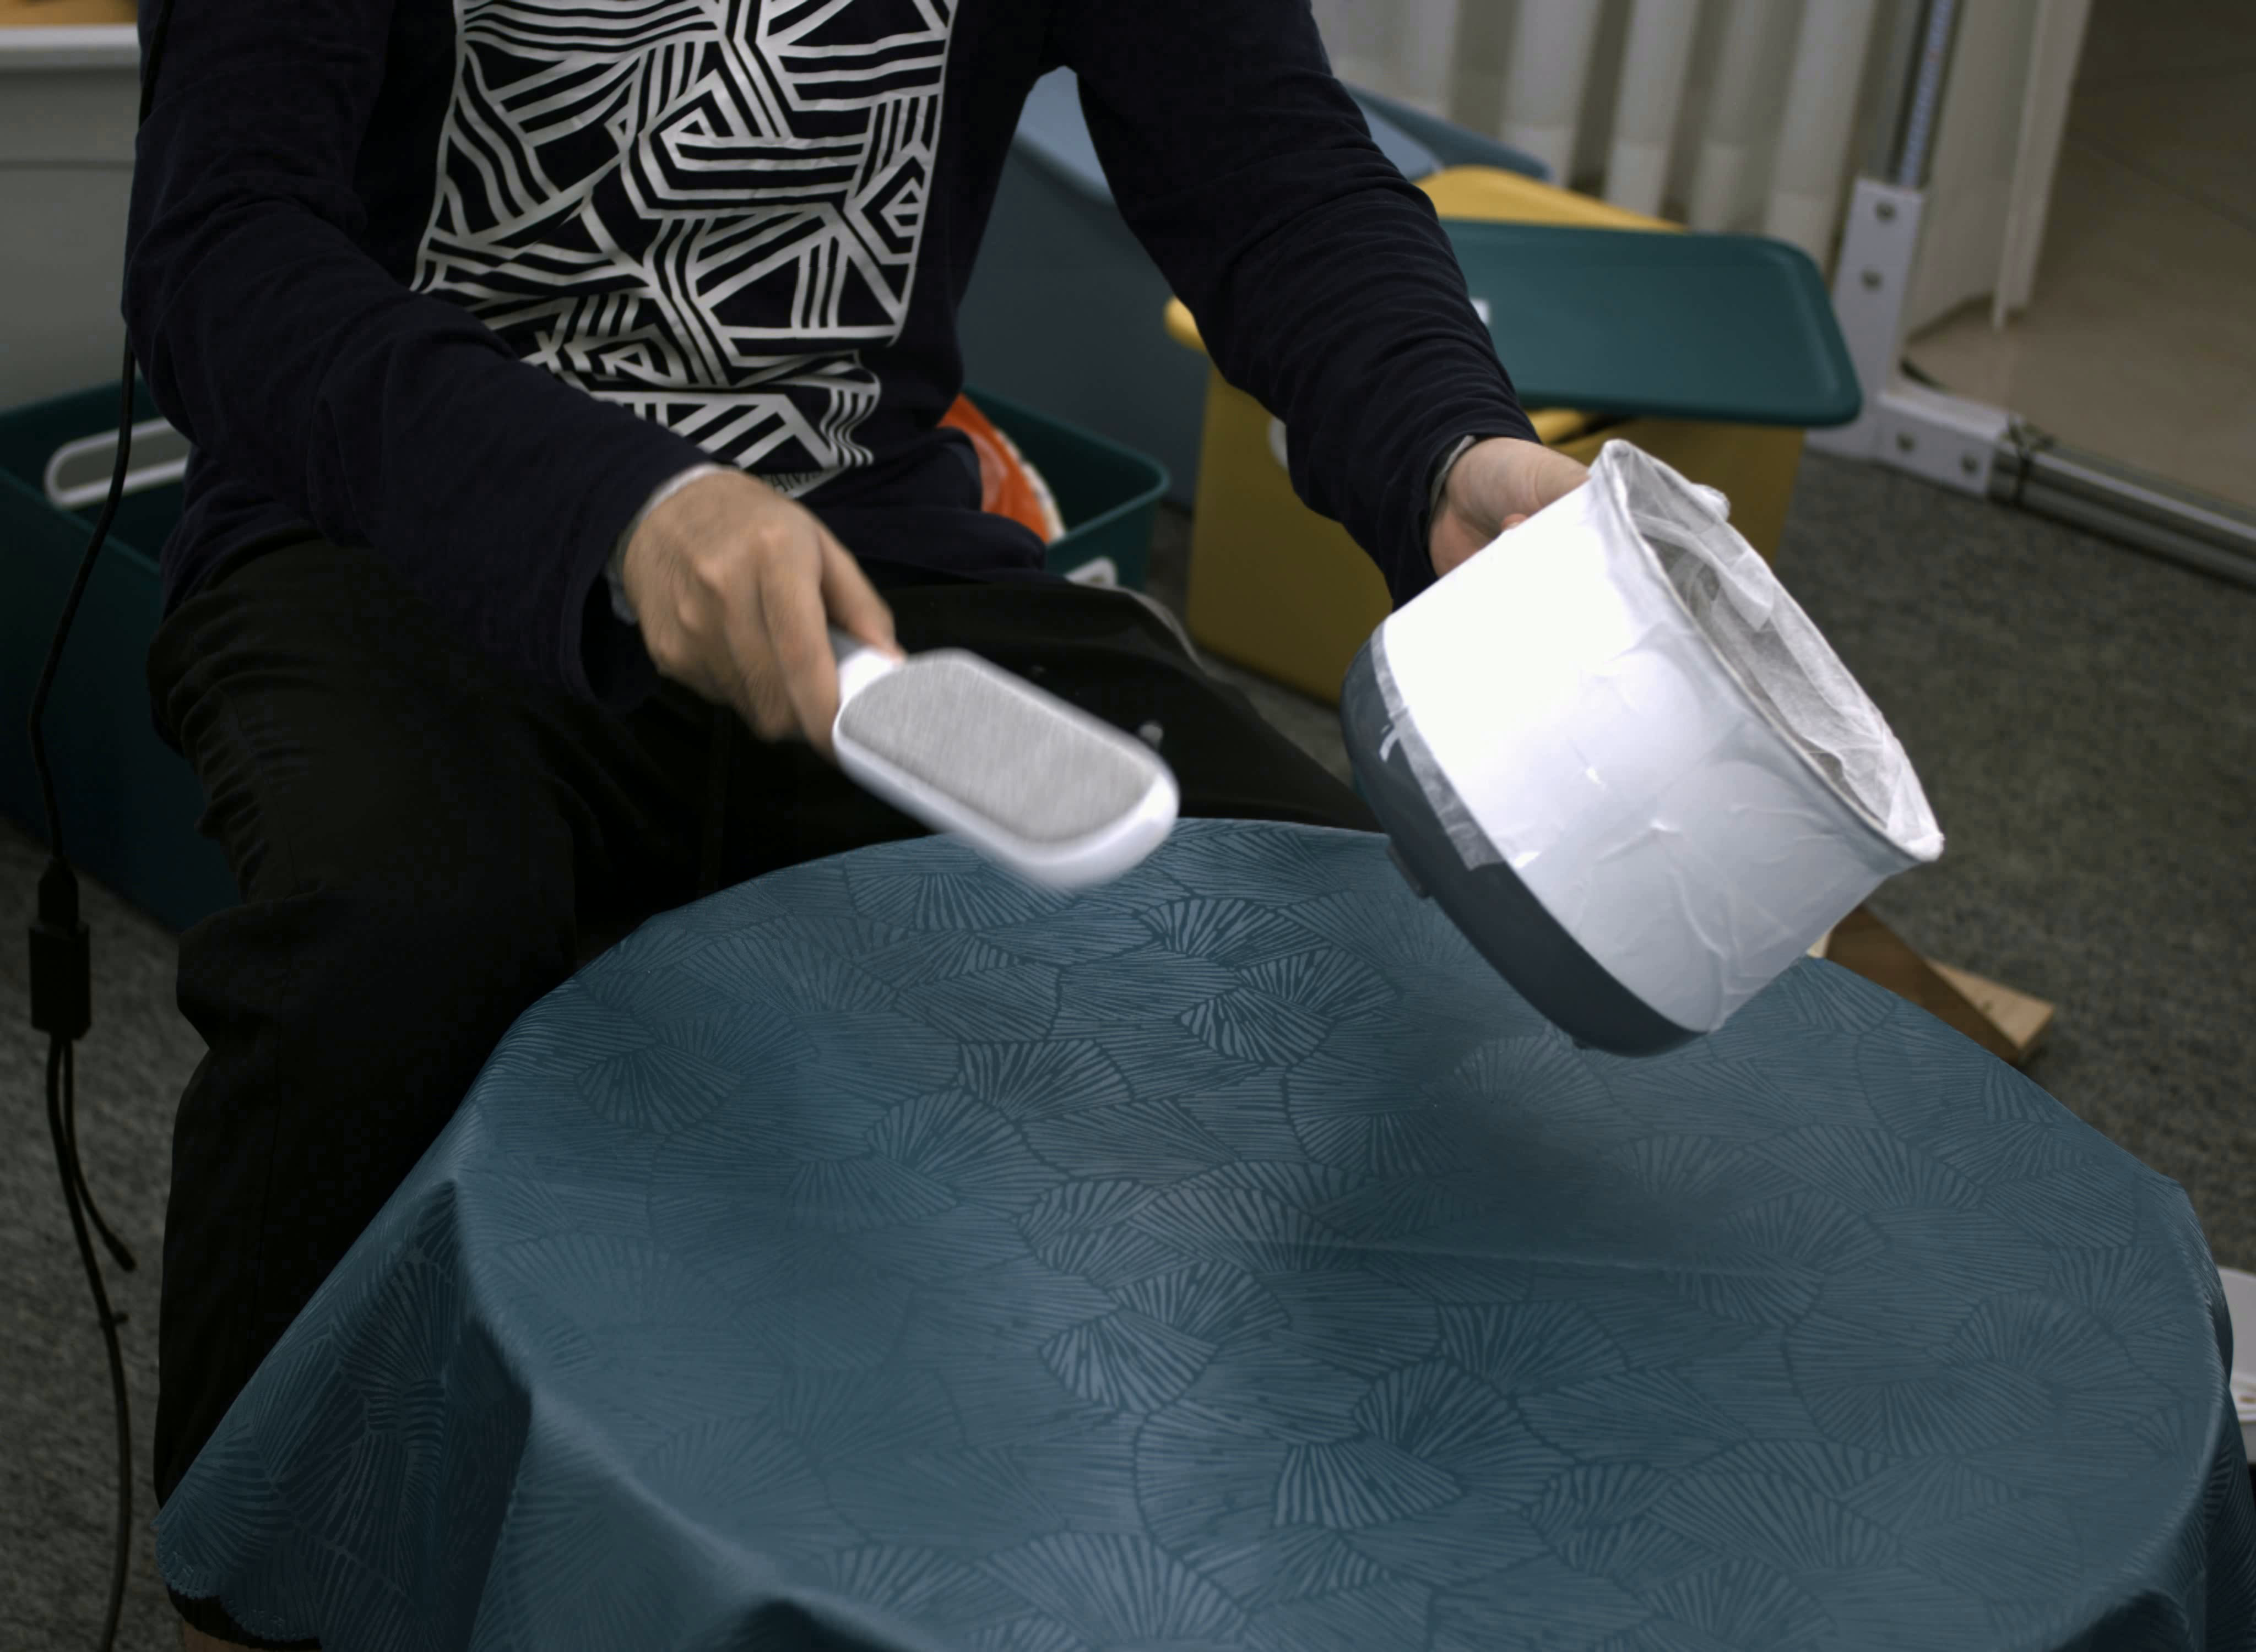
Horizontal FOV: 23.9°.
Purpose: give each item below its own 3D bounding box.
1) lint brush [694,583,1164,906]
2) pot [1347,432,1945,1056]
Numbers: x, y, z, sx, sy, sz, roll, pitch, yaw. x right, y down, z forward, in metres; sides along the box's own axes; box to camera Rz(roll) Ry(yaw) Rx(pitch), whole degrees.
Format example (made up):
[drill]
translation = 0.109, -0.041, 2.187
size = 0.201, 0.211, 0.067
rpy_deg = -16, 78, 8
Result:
[lint brush]
translation = -0.074, -0.034, 1.783
size = 0.060, 0.021, 0.311
rpy_deg = -38, 31, -13
[pot]
translation = 0.166, -0.037, 1.805
size = 0.177, 0.136, 0.235
rpy_deg = 45, 18, -28
